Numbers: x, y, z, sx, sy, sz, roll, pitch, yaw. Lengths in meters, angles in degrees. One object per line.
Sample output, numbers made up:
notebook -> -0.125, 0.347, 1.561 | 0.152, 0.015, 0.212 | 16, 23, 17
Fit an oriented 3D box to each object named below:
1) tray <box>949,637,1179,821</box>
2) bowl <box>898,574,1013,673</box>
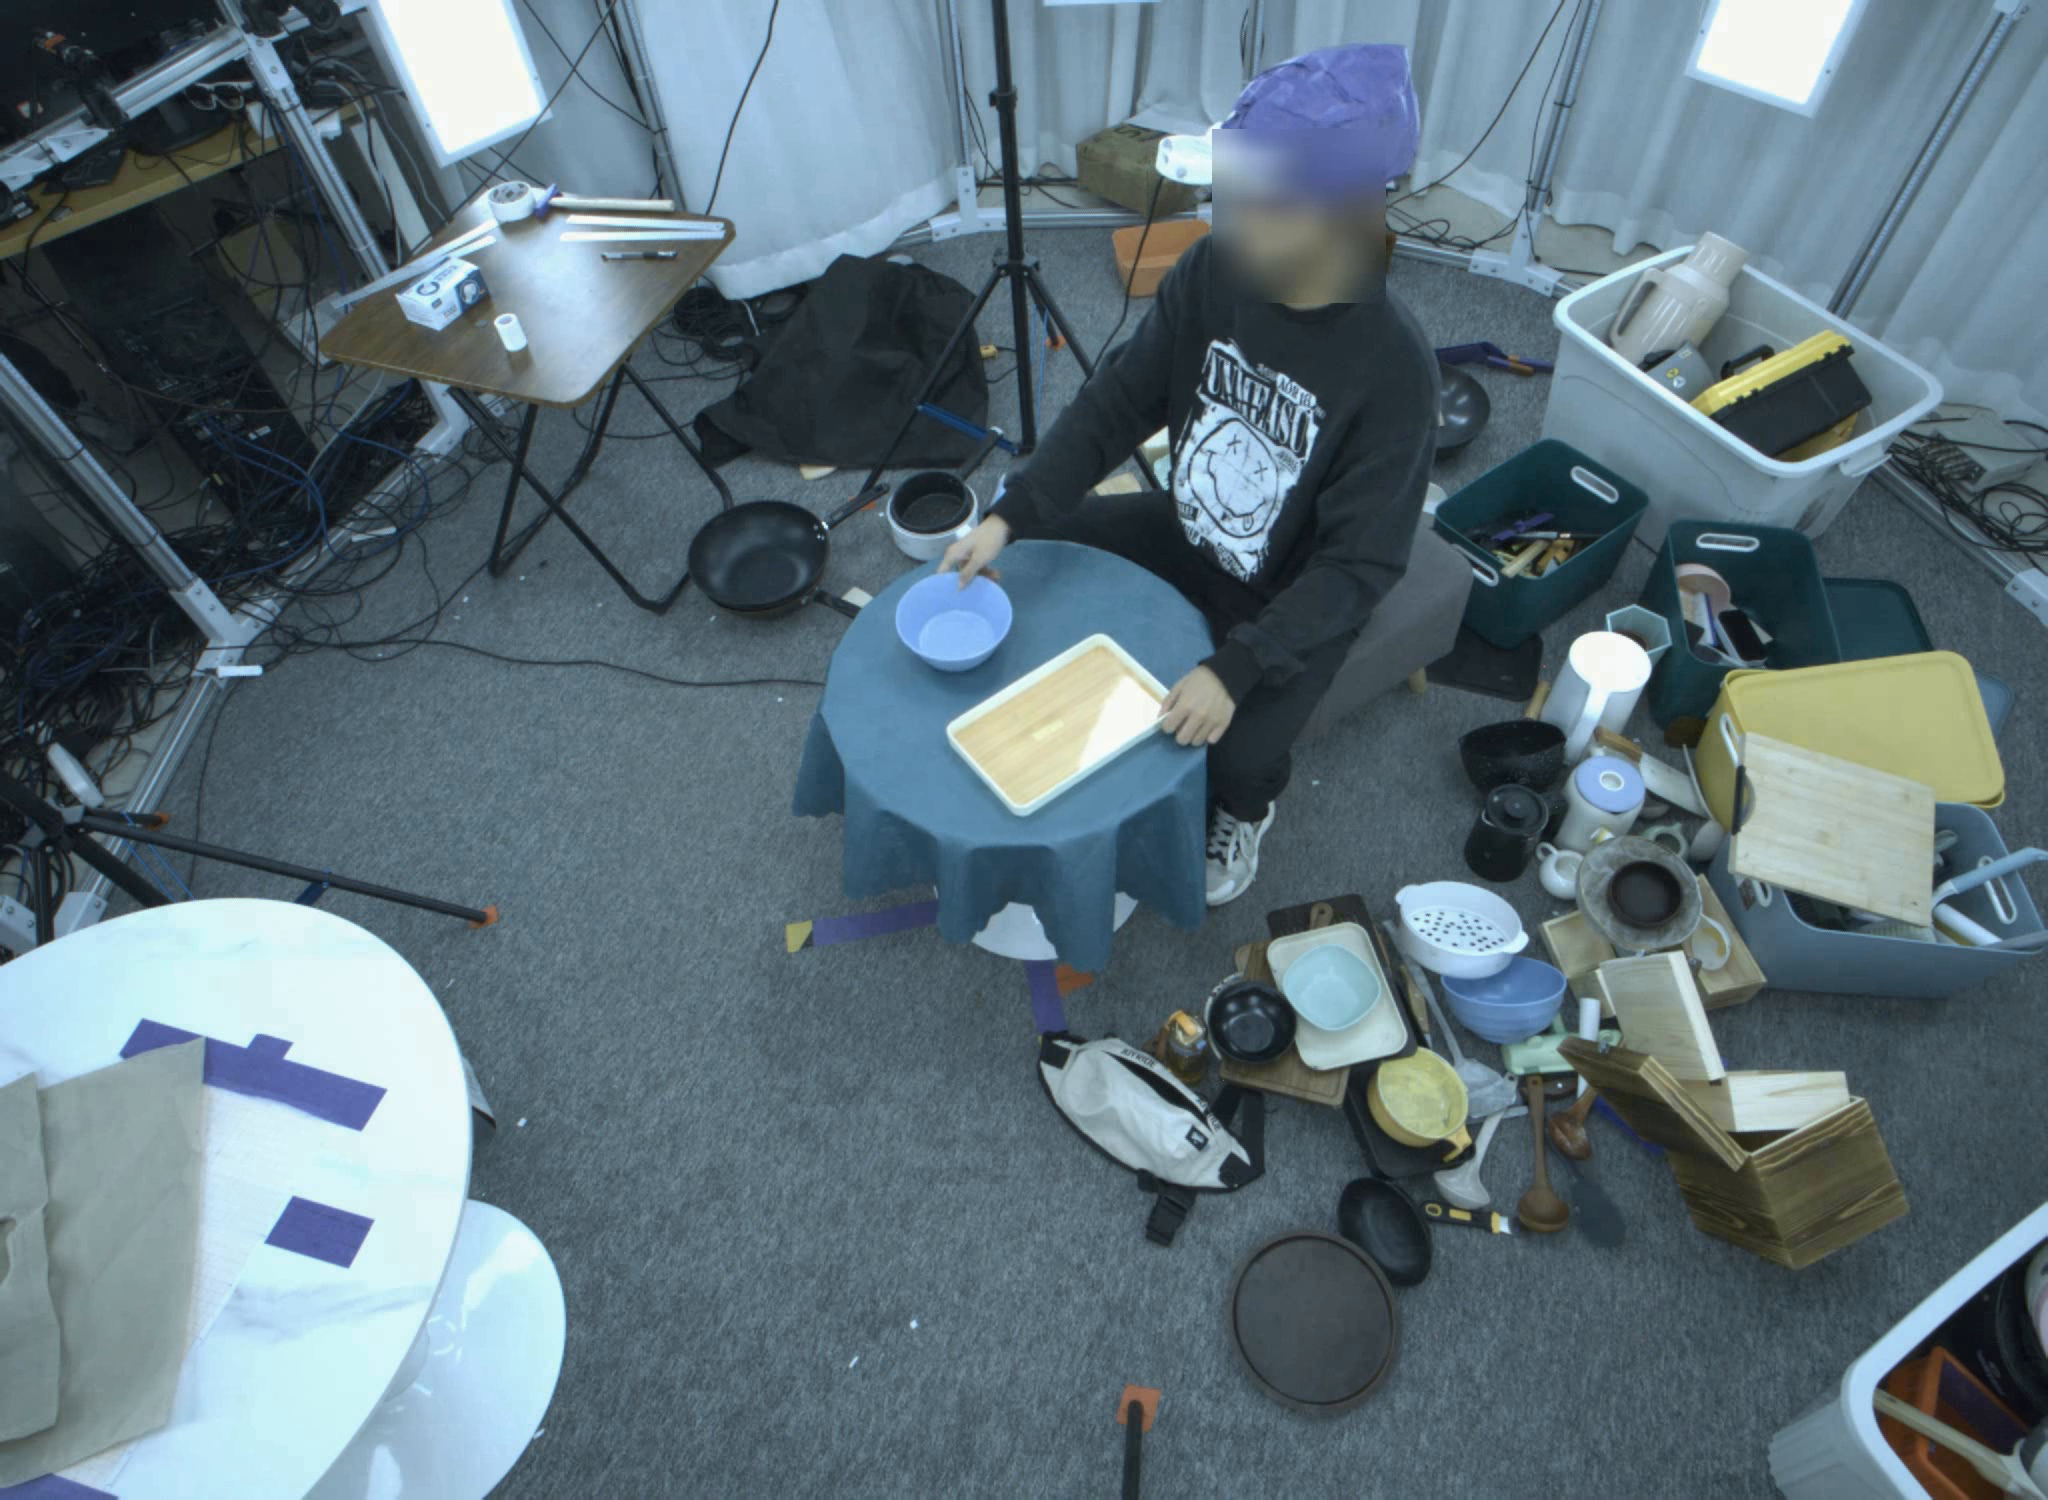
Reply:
tray -> 0.060, -0.037, 1.806 | 0.302, 0.028, 0.188 | -33, 60, -19
bowl -> -0.103, -0.184, 1.883 | 0.176, 0.071, 0.174 | 0, 58, 1
